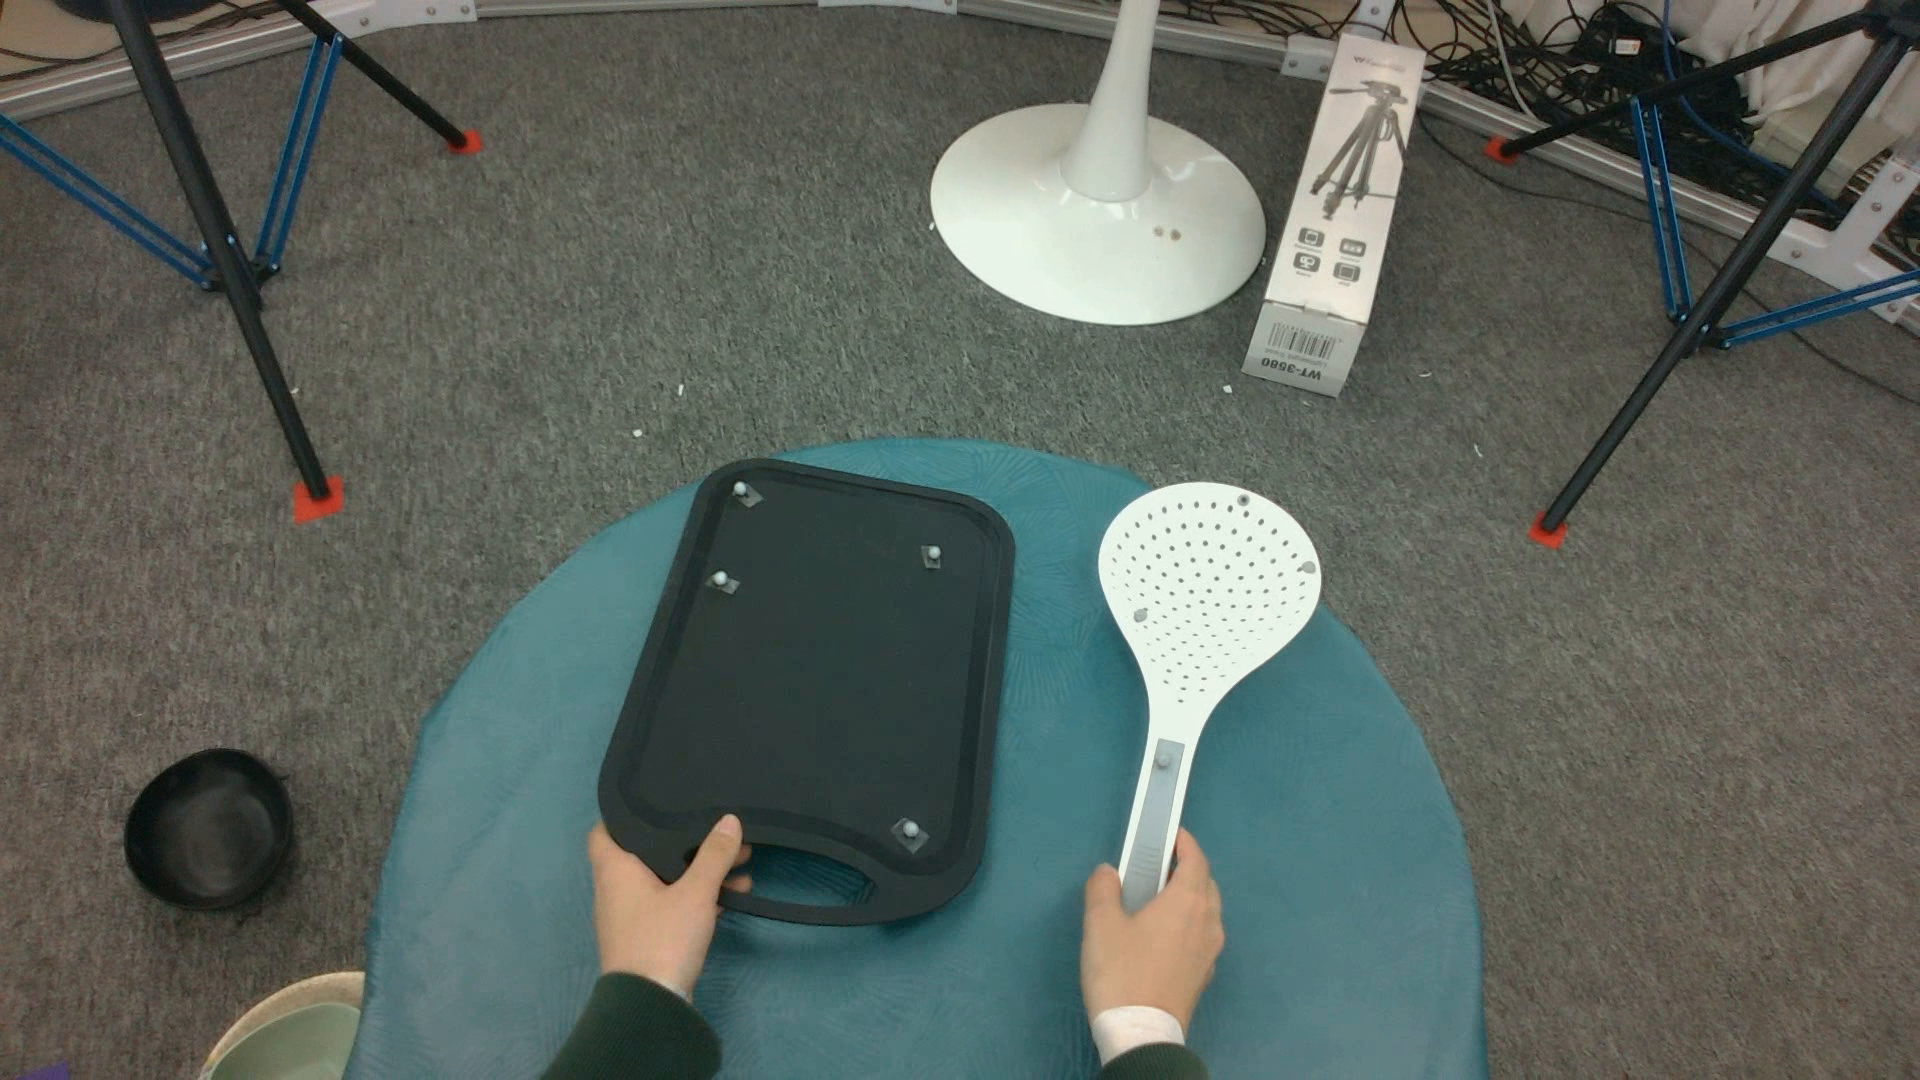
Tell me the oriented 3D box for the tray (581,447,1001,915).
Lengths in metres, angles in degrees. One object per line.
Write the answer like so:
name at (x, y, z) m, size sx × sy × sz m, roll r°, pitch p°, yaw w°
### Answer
tray at (-0.087, 0.067, 0.803) m, size 0.211 × 0.010 × 0.327 m, roll 11°, pitch 46°, yaw -3°

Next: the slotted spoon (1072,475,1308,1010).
slotted spoon at (0.118, 0.100, 0.797) m, size 0.136 × 0.045 × 0.351 m, roll 12°, pitch 49°, yaw 11°
